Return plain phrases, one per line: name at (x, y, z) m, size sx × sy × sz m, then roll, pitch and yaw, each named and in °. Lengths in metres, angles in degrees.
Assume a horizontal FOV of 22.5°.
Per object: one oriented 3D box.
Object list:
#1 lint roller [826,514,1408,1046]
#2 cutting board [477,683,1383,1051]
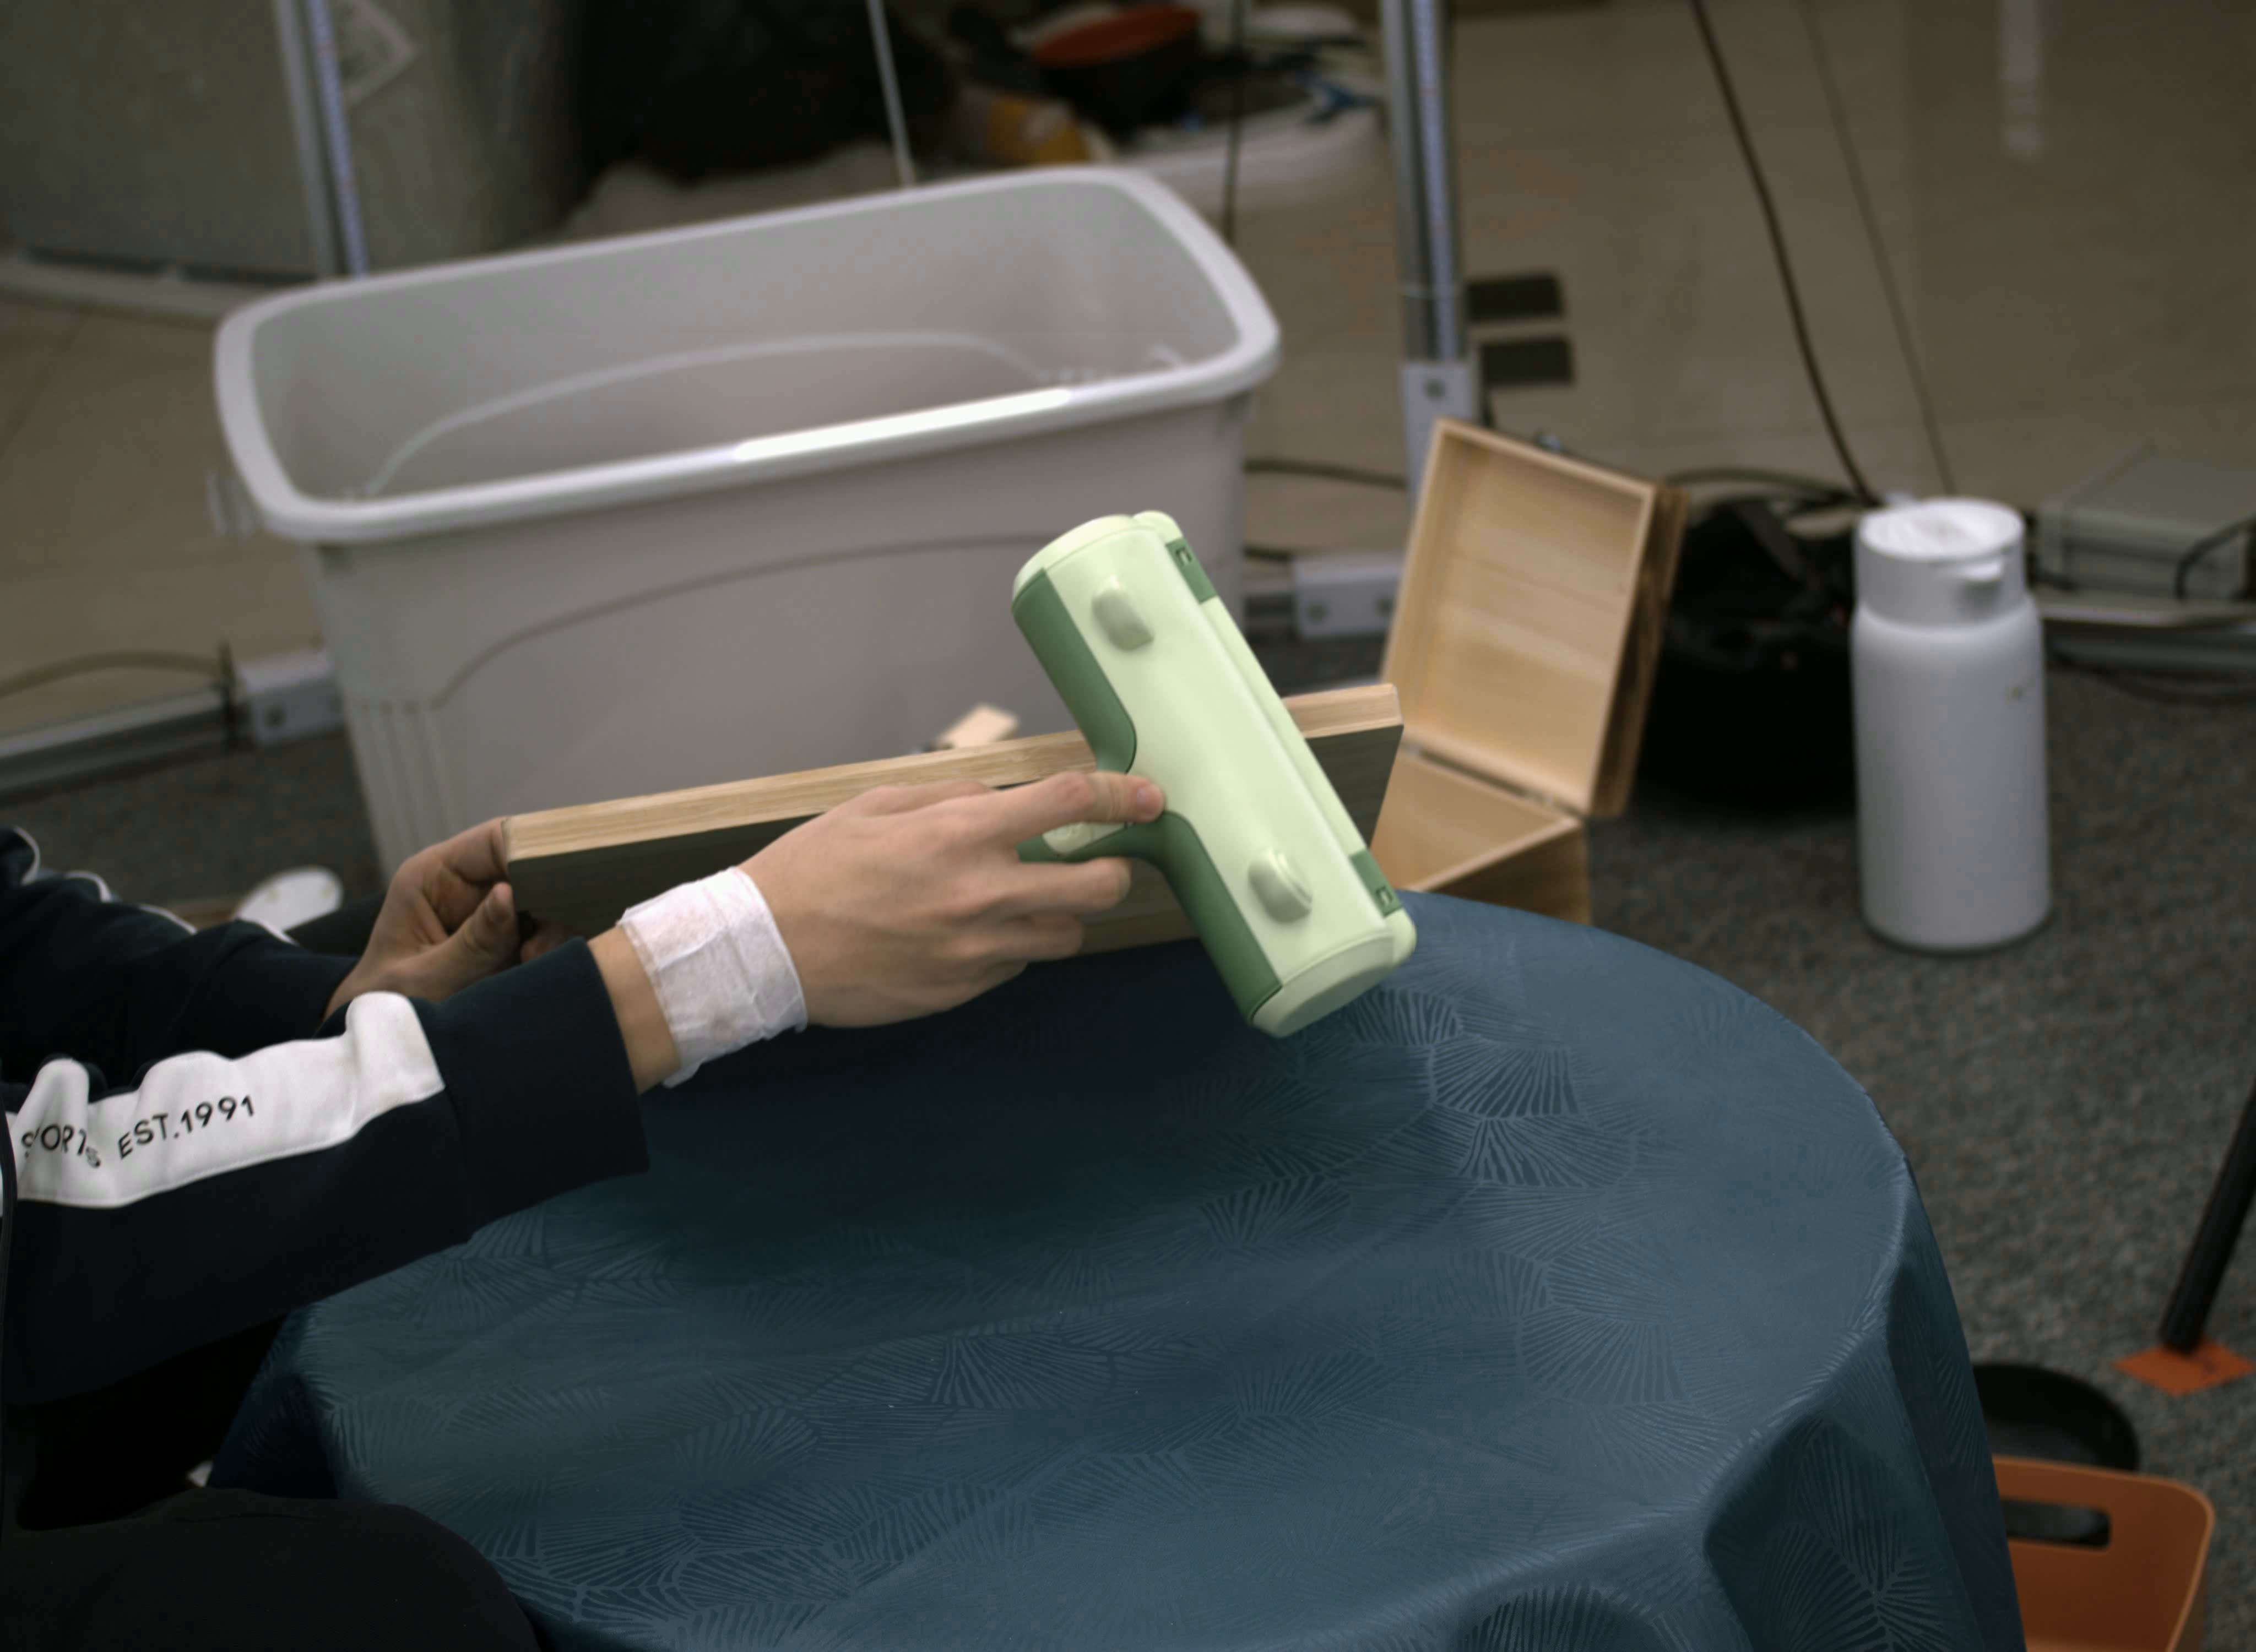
lint roller at (-0.021, 0.001, 2.009) m, size 0.182 × 0.197 × 0.083 m, roll -24°, pitch -13°, yaw -20°
cutting board at (-0.074, 0.019, 2.214) m, size 0.348 × 0.023 × 0.253 m, roll -9°, pitch -18°, yaw -6°
